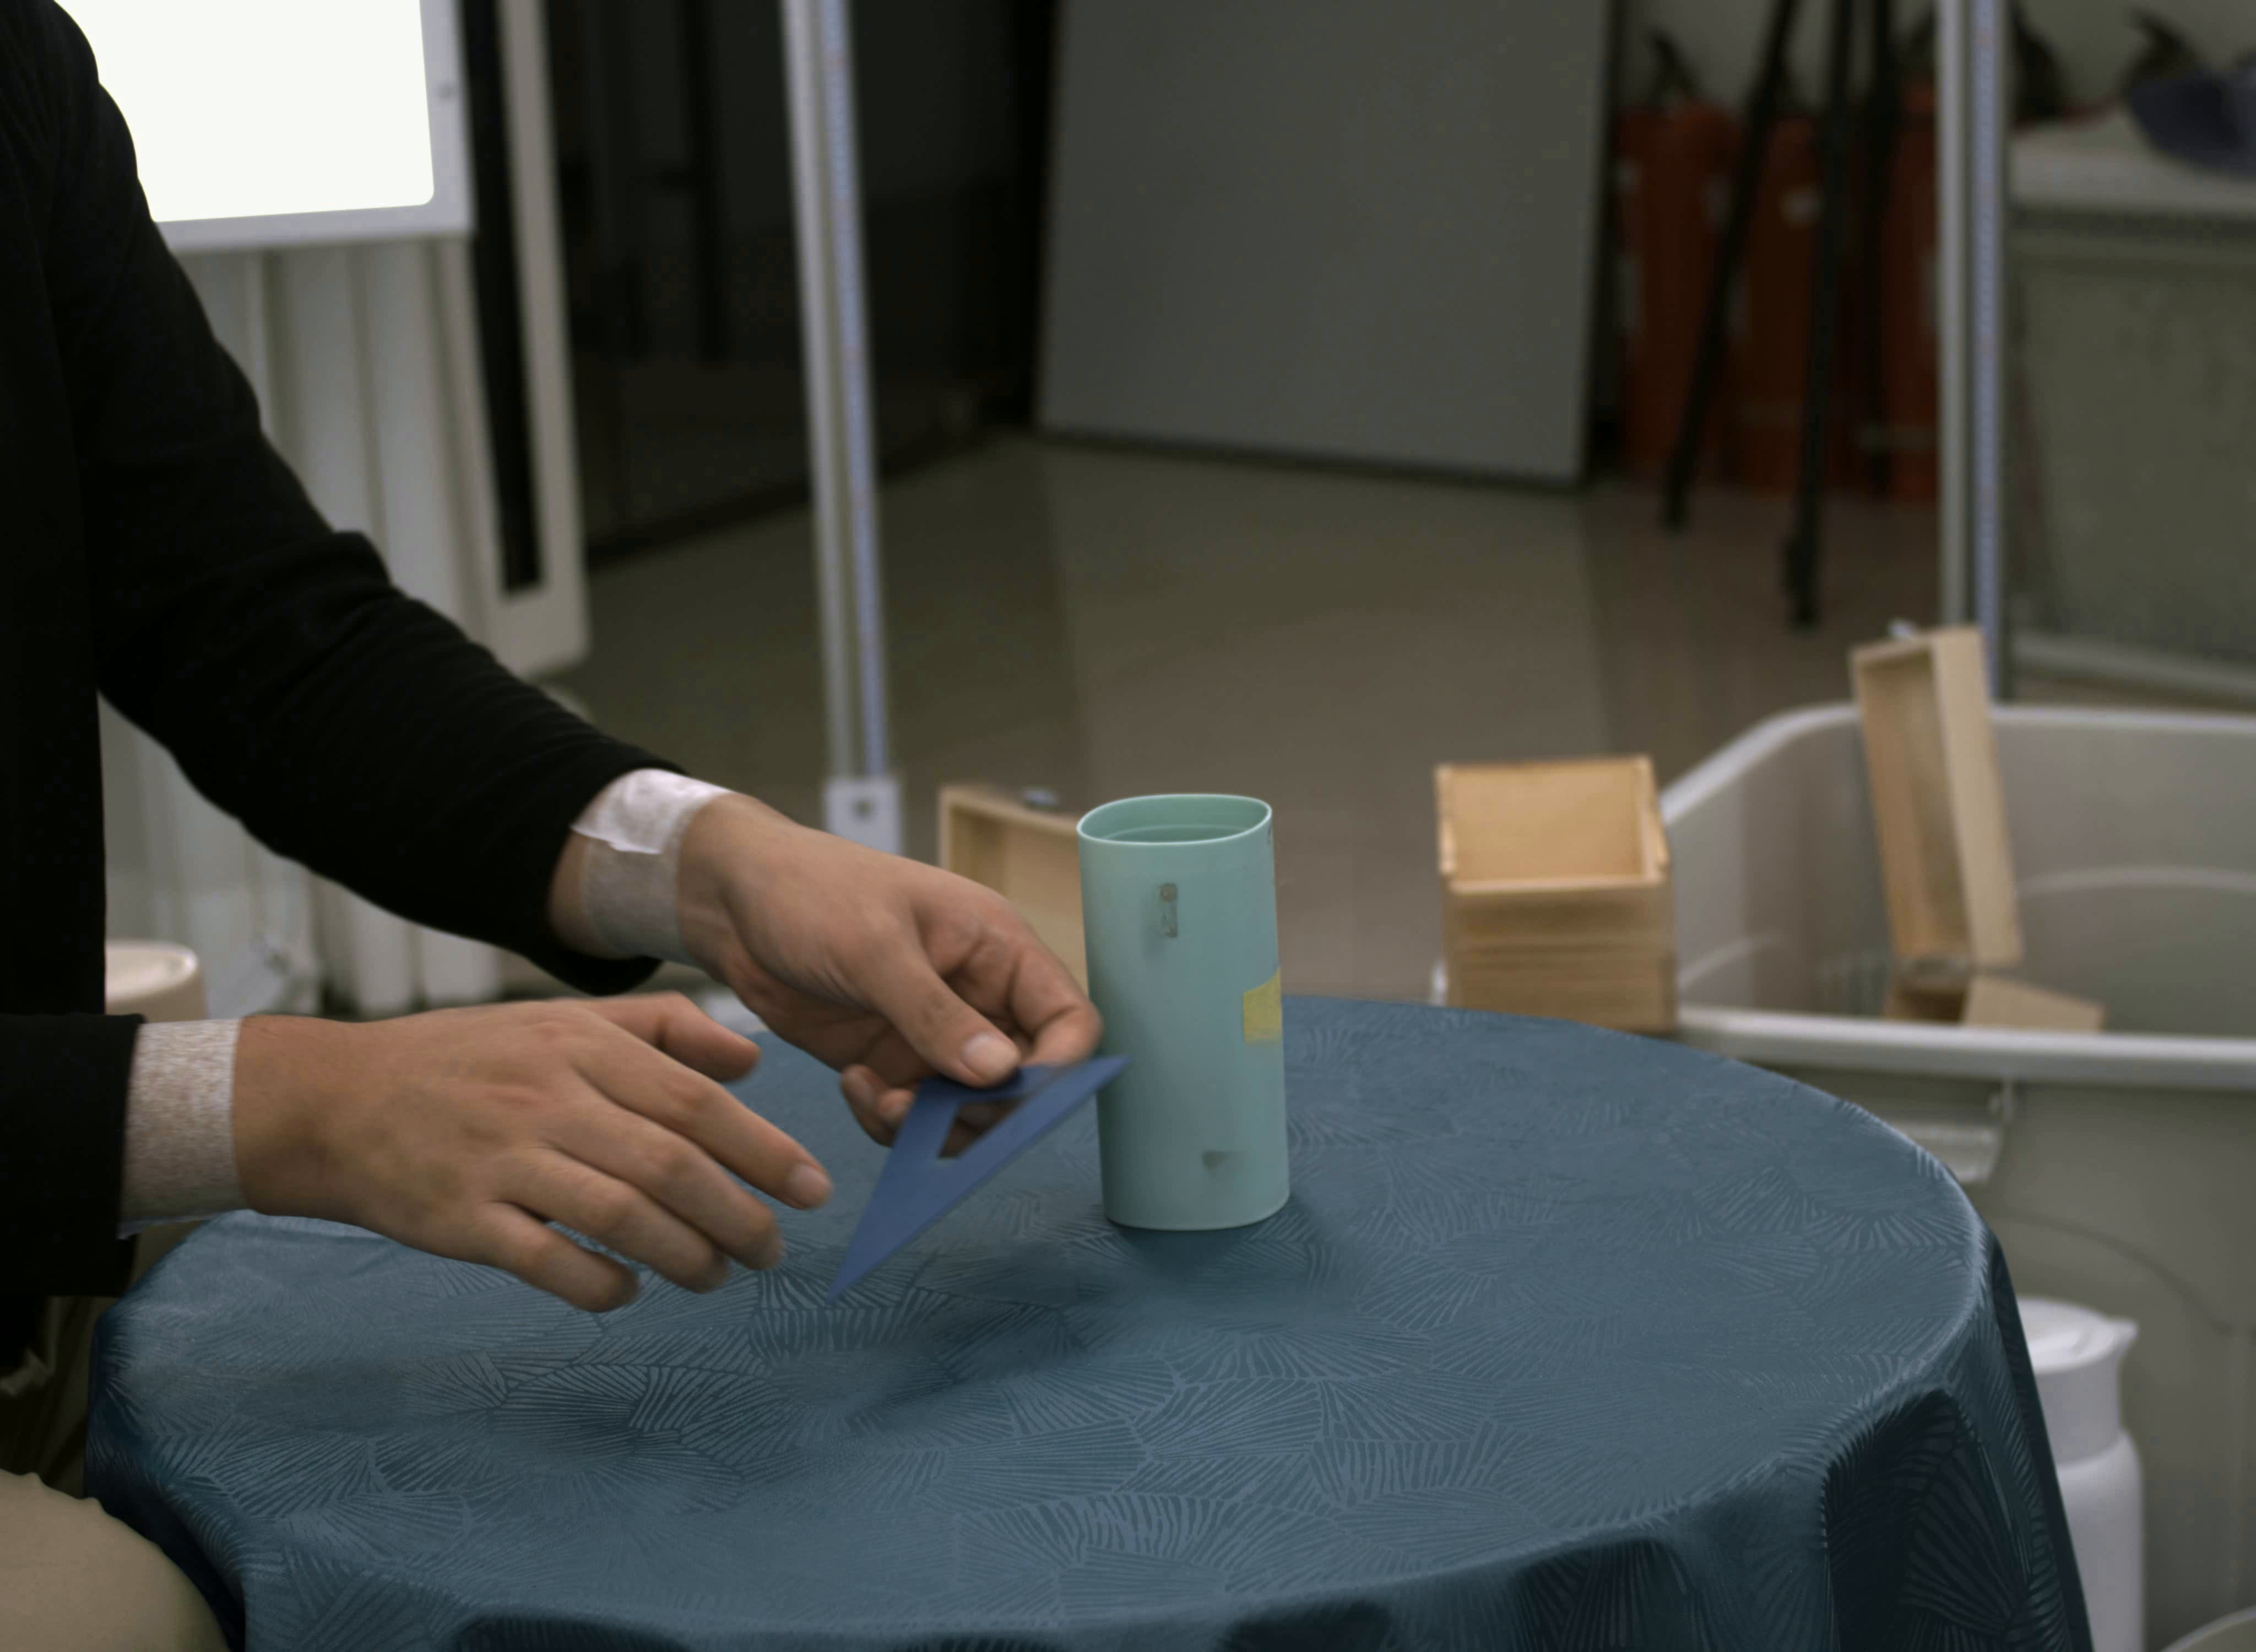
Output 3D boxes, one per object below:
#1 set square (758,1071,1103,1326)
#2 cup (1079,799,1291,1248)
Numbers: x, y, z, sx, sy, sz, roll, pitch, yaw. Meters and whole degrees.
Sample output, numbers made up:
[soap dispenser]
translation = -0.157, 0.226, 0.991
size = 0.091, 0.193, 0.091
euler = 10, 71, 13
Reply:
[set square]
translation = -0.072, 0.105, 1.639
size = 0.130, 0.006, 0.062
euler = -36, 38, -25
[cup]
translation = 0.018, 0.063, 1.740
size = 0.066, 0.134, 0.067
euler = -3, 14, 0
